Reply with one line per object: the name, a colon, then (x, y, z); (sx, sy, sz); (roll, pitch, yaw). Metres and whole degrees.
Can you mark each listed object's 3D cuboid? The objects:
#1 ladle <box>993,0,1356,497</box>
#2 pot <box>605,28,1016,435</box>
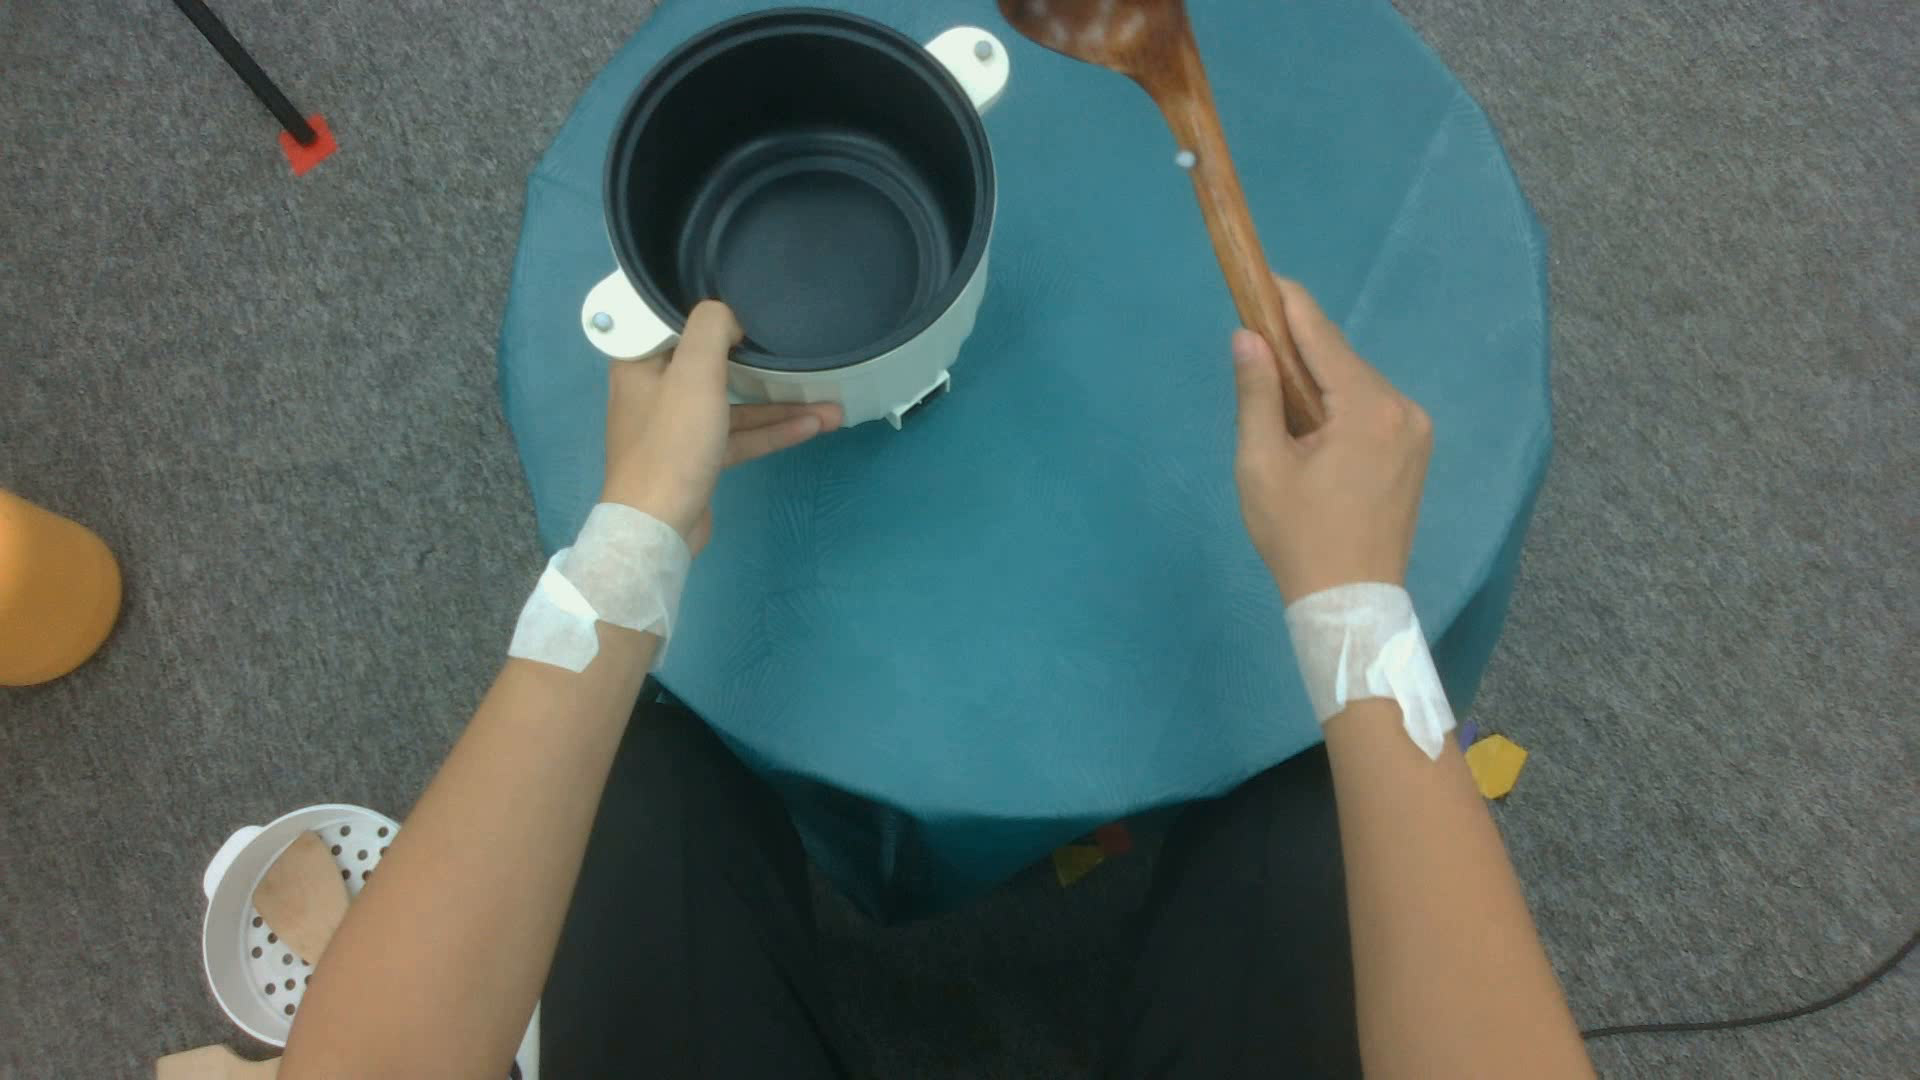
ladle: (0.096, -0.136, 0.608); (0.077, 0.081, 0.274); (-23, 93, -21)
pot: (-0.074, -0.151, 0.717); (0.241, 0.142, 0.190); (-39, 84, -10)
